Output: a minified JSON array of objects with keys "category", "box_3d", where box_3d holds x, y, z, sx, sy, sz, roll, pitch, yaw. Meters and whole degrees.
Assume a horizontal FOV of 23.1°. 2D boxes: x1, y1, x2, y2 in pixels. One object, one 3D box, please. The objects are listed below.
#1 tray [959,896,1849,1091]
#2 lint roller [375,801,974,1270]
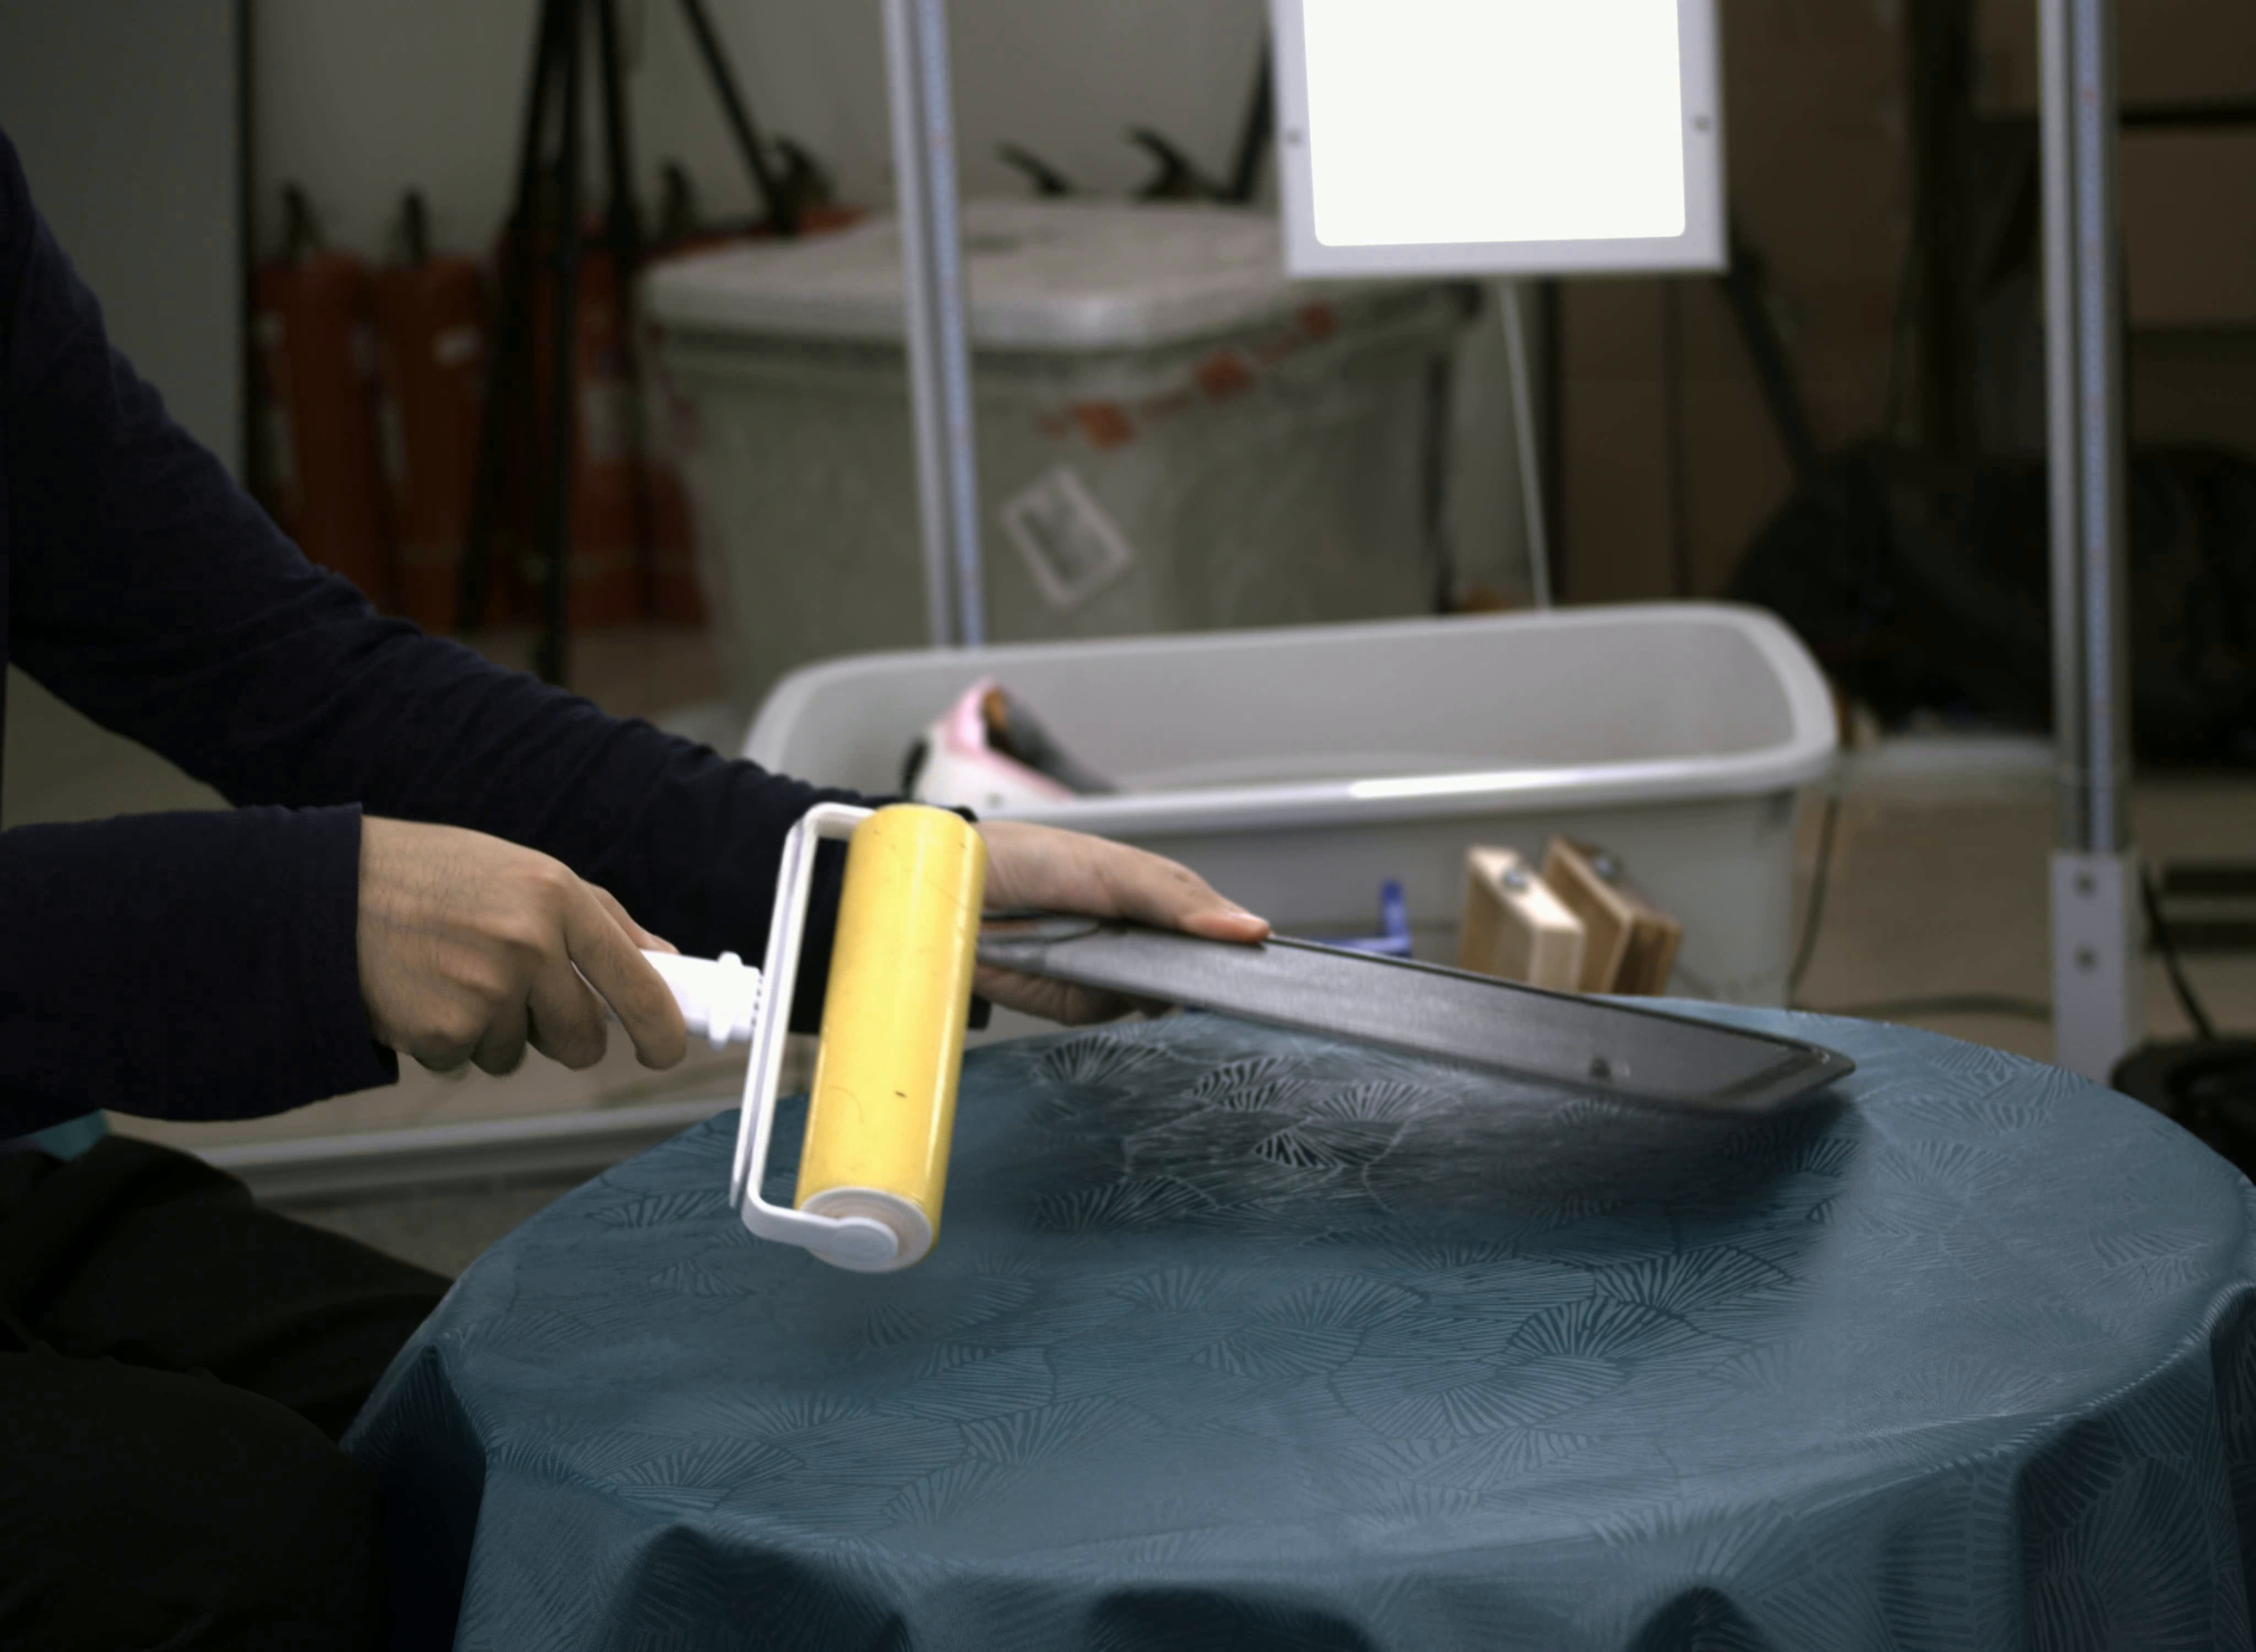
[{"category":"tray","box_3d":[0.082,0.055,1.925,0.330,0.010,0.207,11,5,22]},{"category":"lint roller","box_3d":[-0.147,0.050,1.793,0.190,0.052,0.173,15,49,-12]}]
